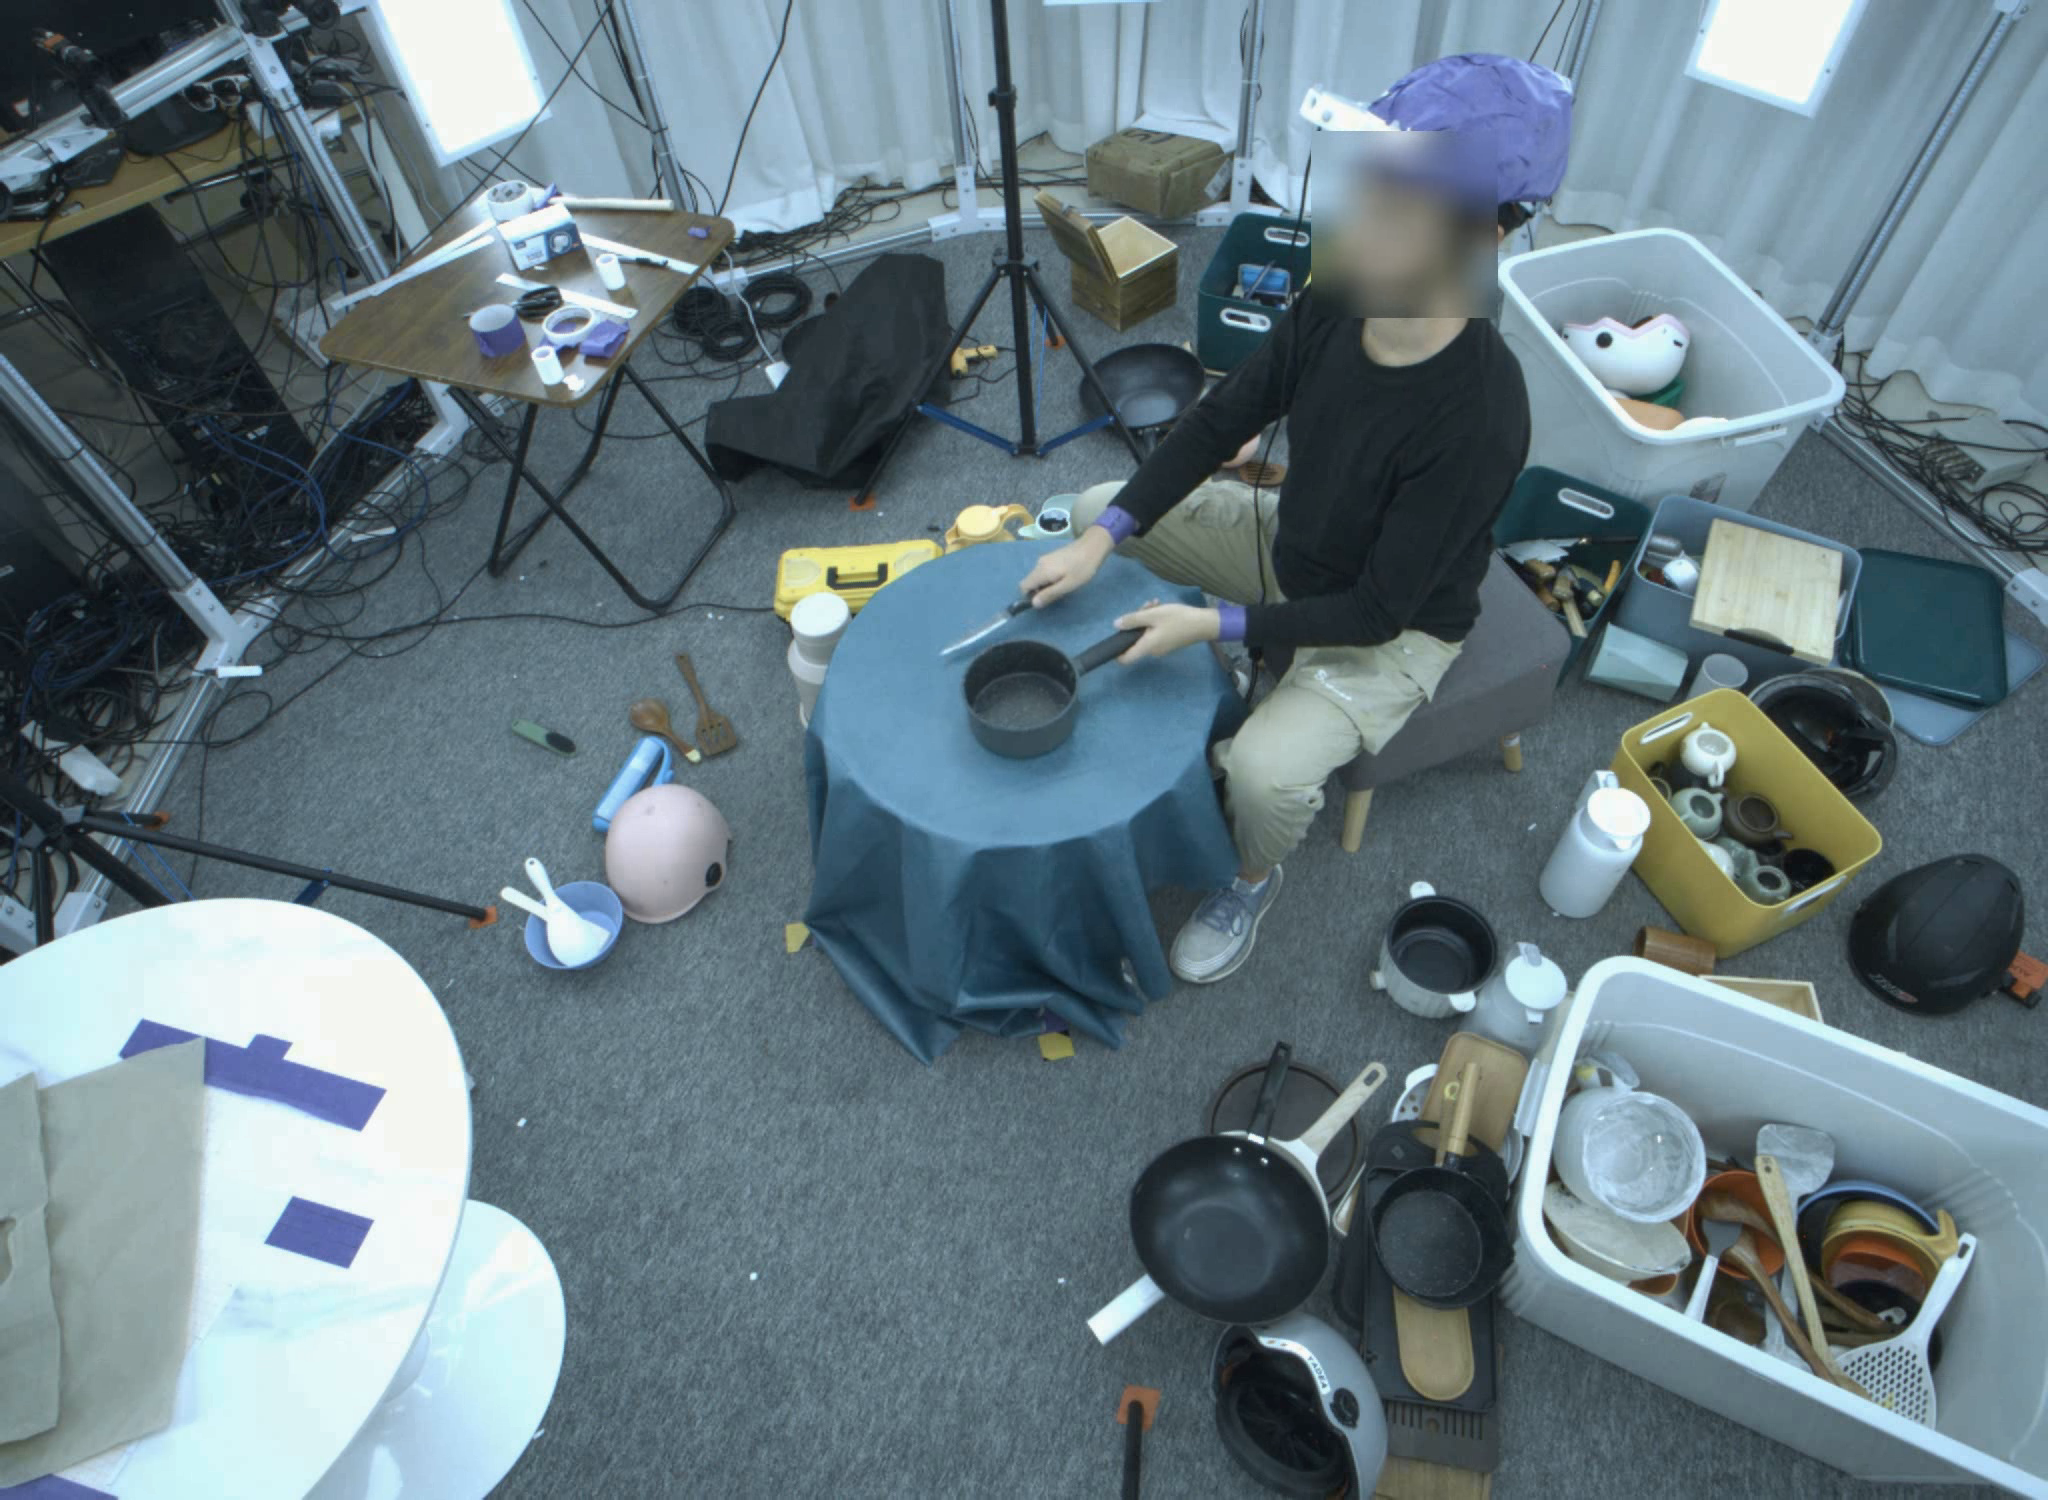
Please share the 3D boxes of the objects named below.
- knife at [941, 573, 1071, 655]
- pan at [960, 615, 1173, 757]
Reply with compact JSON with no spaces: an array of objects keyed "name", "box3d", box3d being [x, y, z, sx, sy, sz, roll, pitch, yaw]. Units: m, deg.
[{"name":"knife","box3d":[-0.030,-0.210,1.892,0.239,0.016,0.024,-33,63,-13]},{"name":"pan","box3d":[0.067,-0.106,1.805,0.331,0.087,0.169,-23,57,-12]}]
